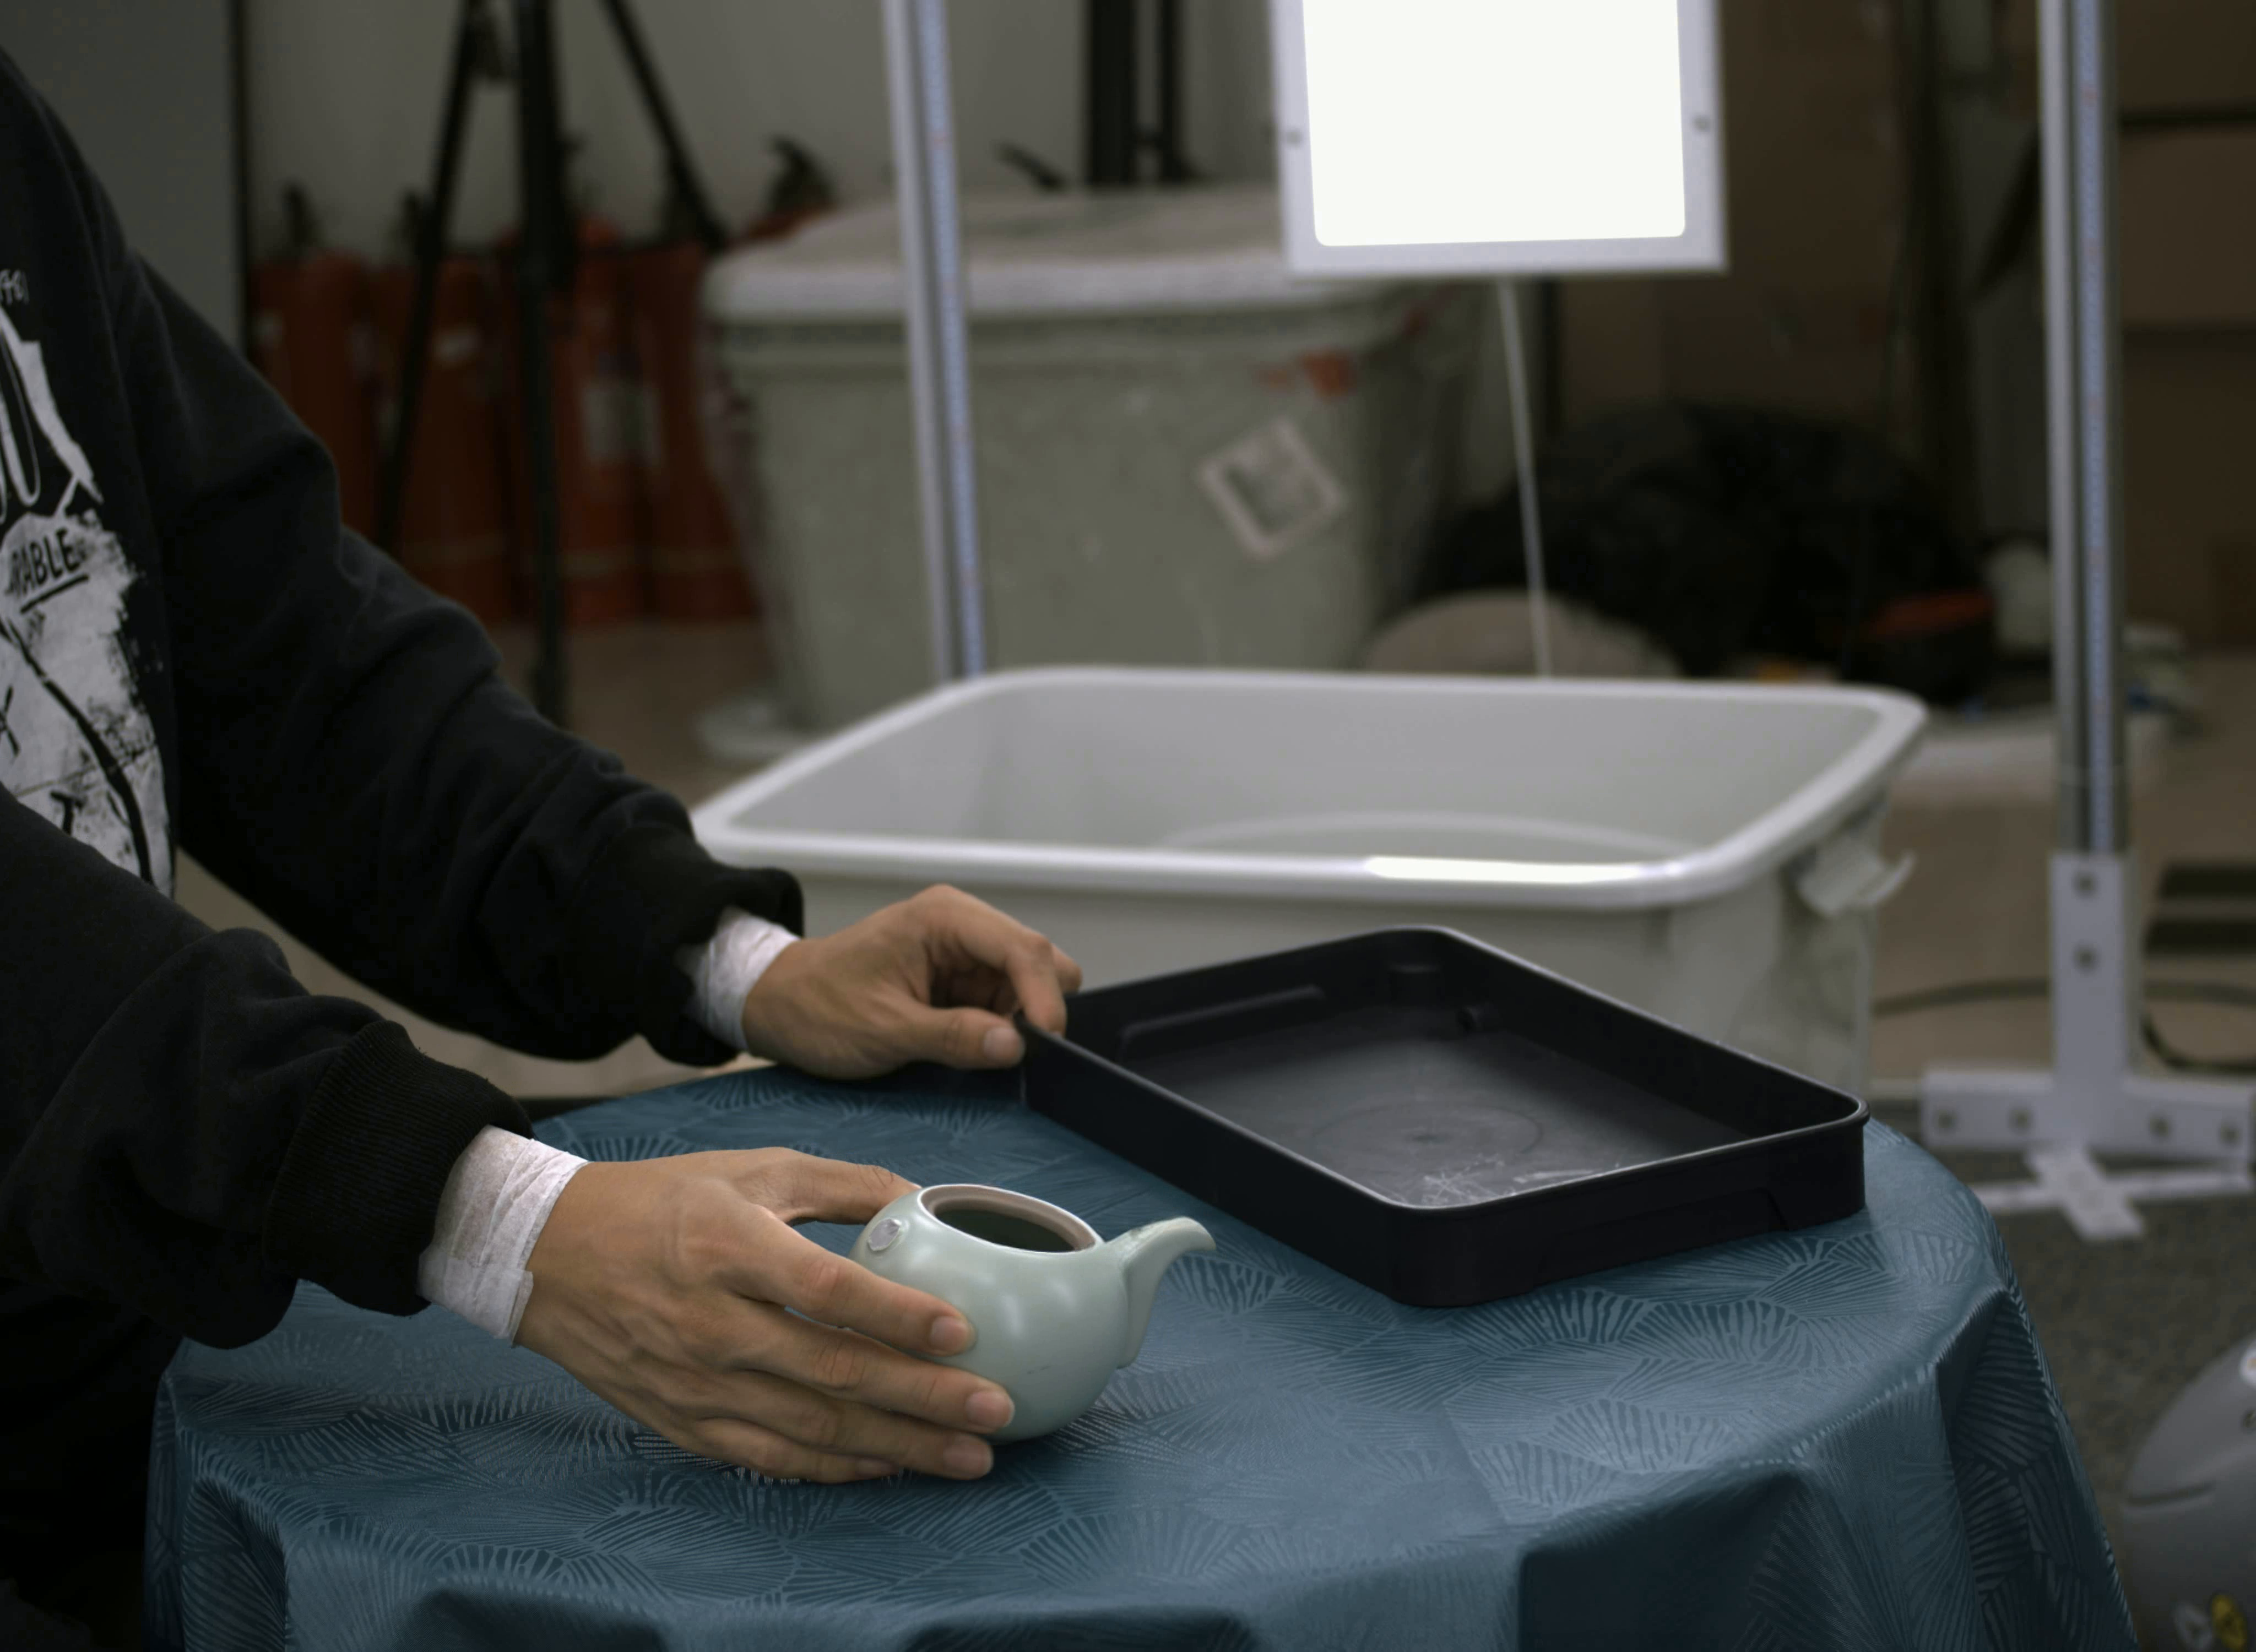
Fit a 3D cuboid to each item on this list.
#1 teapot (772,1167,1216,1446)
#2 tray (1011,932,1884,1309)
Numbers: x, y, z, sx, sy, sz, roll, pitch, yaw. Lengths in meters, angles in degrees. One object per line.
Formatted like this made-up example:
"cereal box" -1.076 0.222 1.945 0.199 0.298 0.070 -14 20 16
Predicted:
"teapot" -0.044 0.146 1.665 0.141 0.075 0.089 11 13 -24
"tray" 0.105 0.097 1.906 0.180 0.037 0.323 -11 15 -25
